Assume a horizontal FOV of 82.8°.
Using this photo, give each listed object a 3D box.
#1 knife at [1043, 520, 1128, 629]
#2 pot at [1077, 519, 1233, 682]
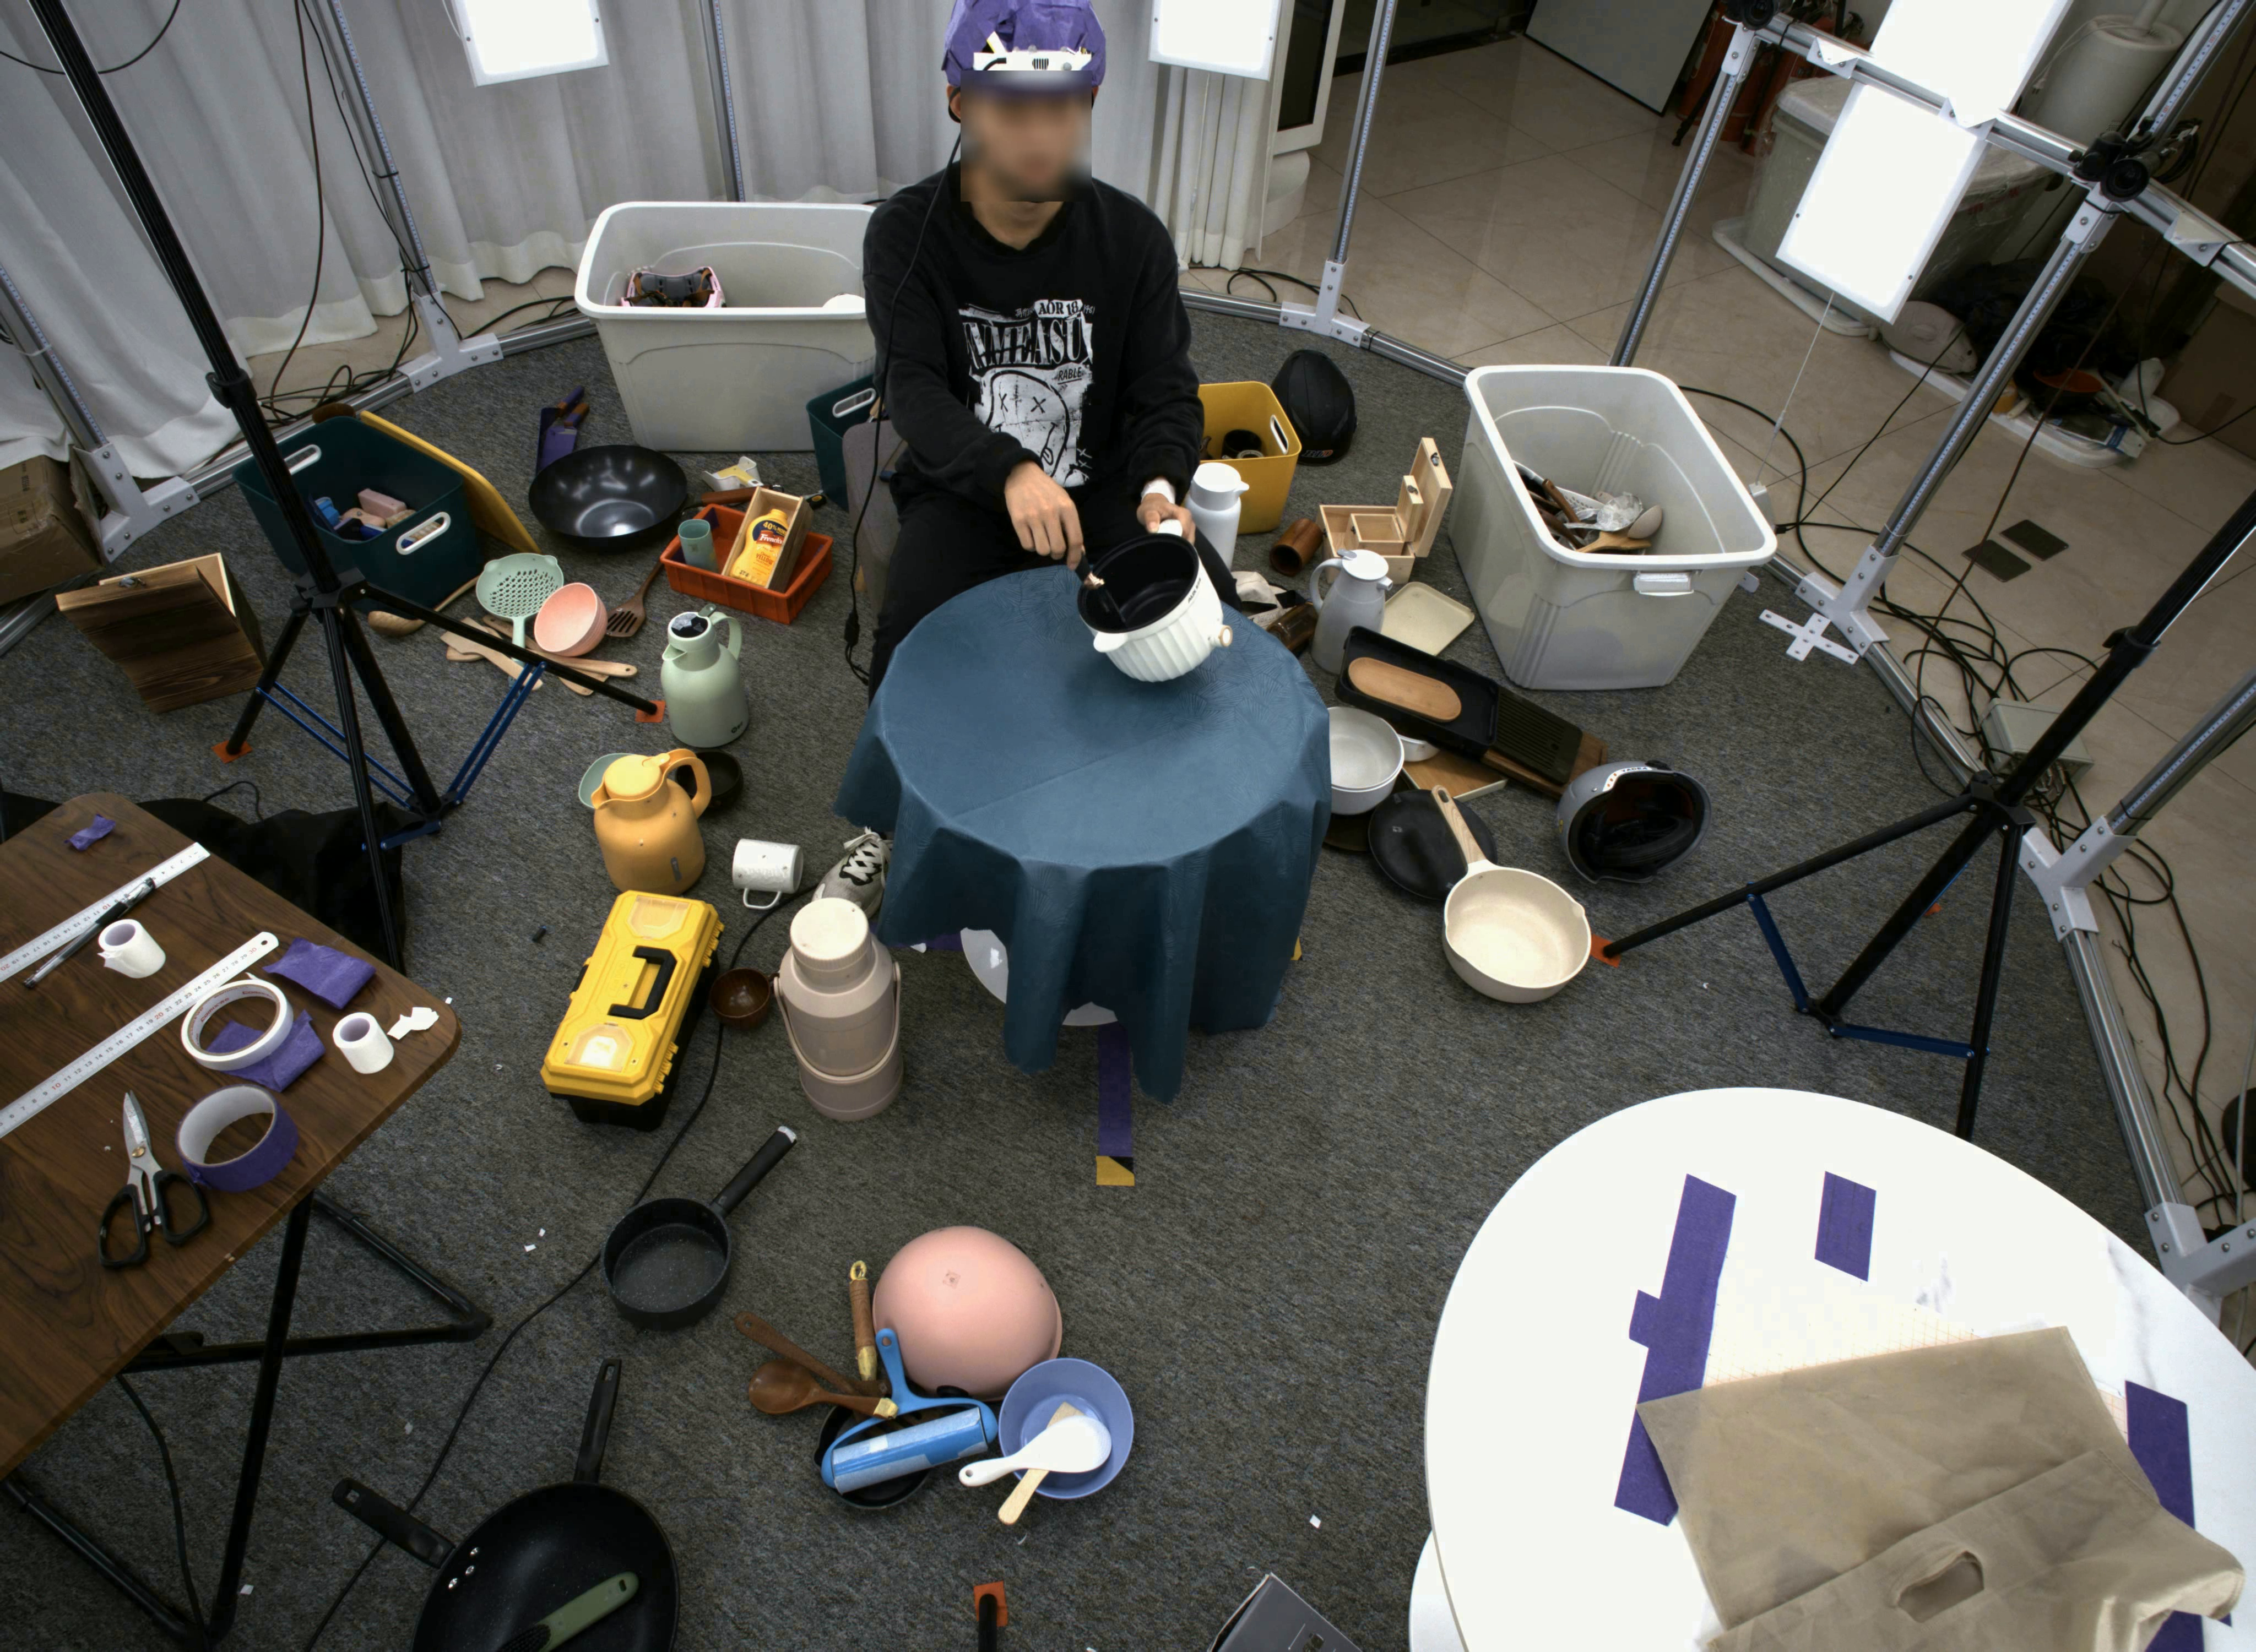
[{"bbox_3d":[-0.046,-0.320,1.728,0.026,0.221,0.017,-33,30,8],"label":"knife"},{"bbox_3d":[0.044,-0.300,1.806,0.192,0.139,0.244,7,60,37],"label":"pot"}]
